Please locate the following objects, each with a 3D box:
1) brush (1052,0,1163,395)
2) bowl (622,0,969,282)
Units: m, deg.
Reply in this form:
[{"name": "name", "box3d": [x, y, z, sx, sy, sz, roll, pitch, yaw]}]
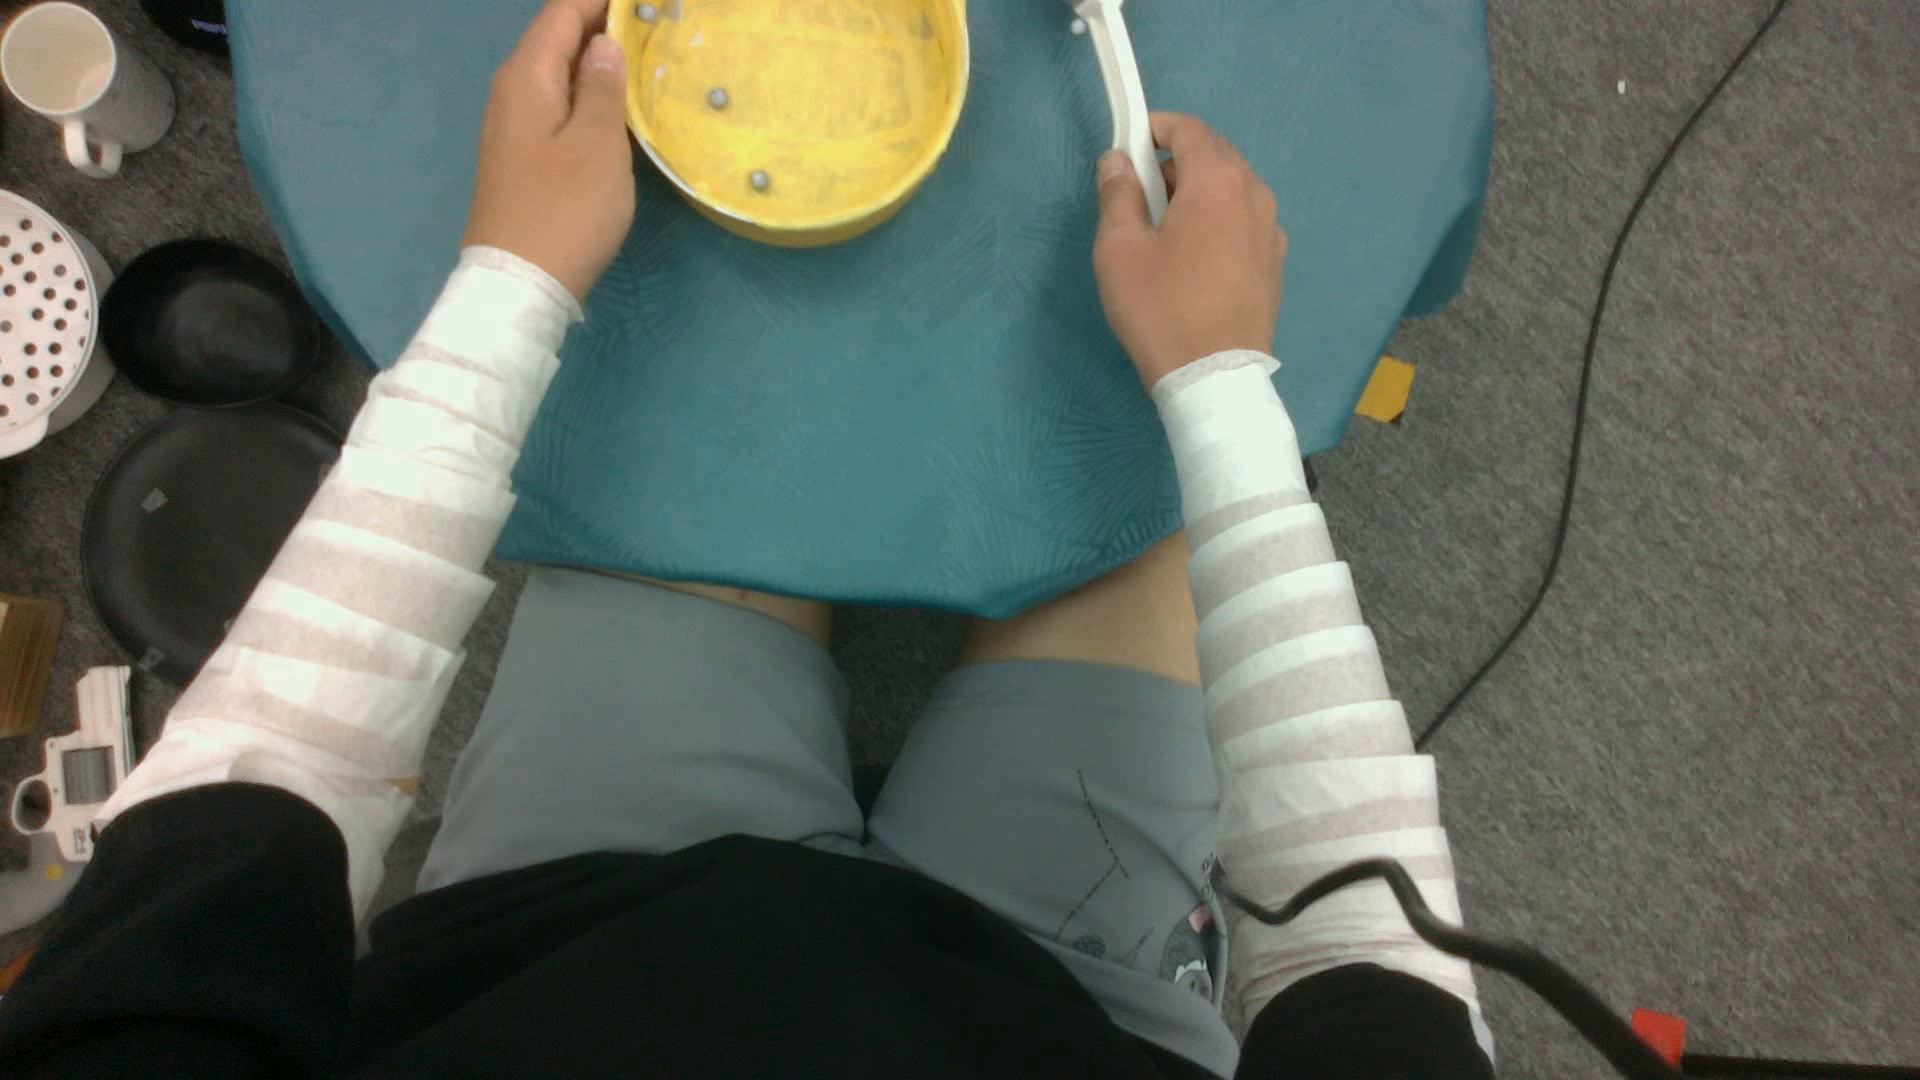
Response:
[{"name": "brush", "box3d": [0.070, -0.189, 0.648, 0.050, 0.034, 0.244, 7, 79, -36]}, {"name": "bowl", "box3d": [-0.079, -0.207, 0.639, 0.153, 0.074, 0.179, -32, 89, -2]}]
